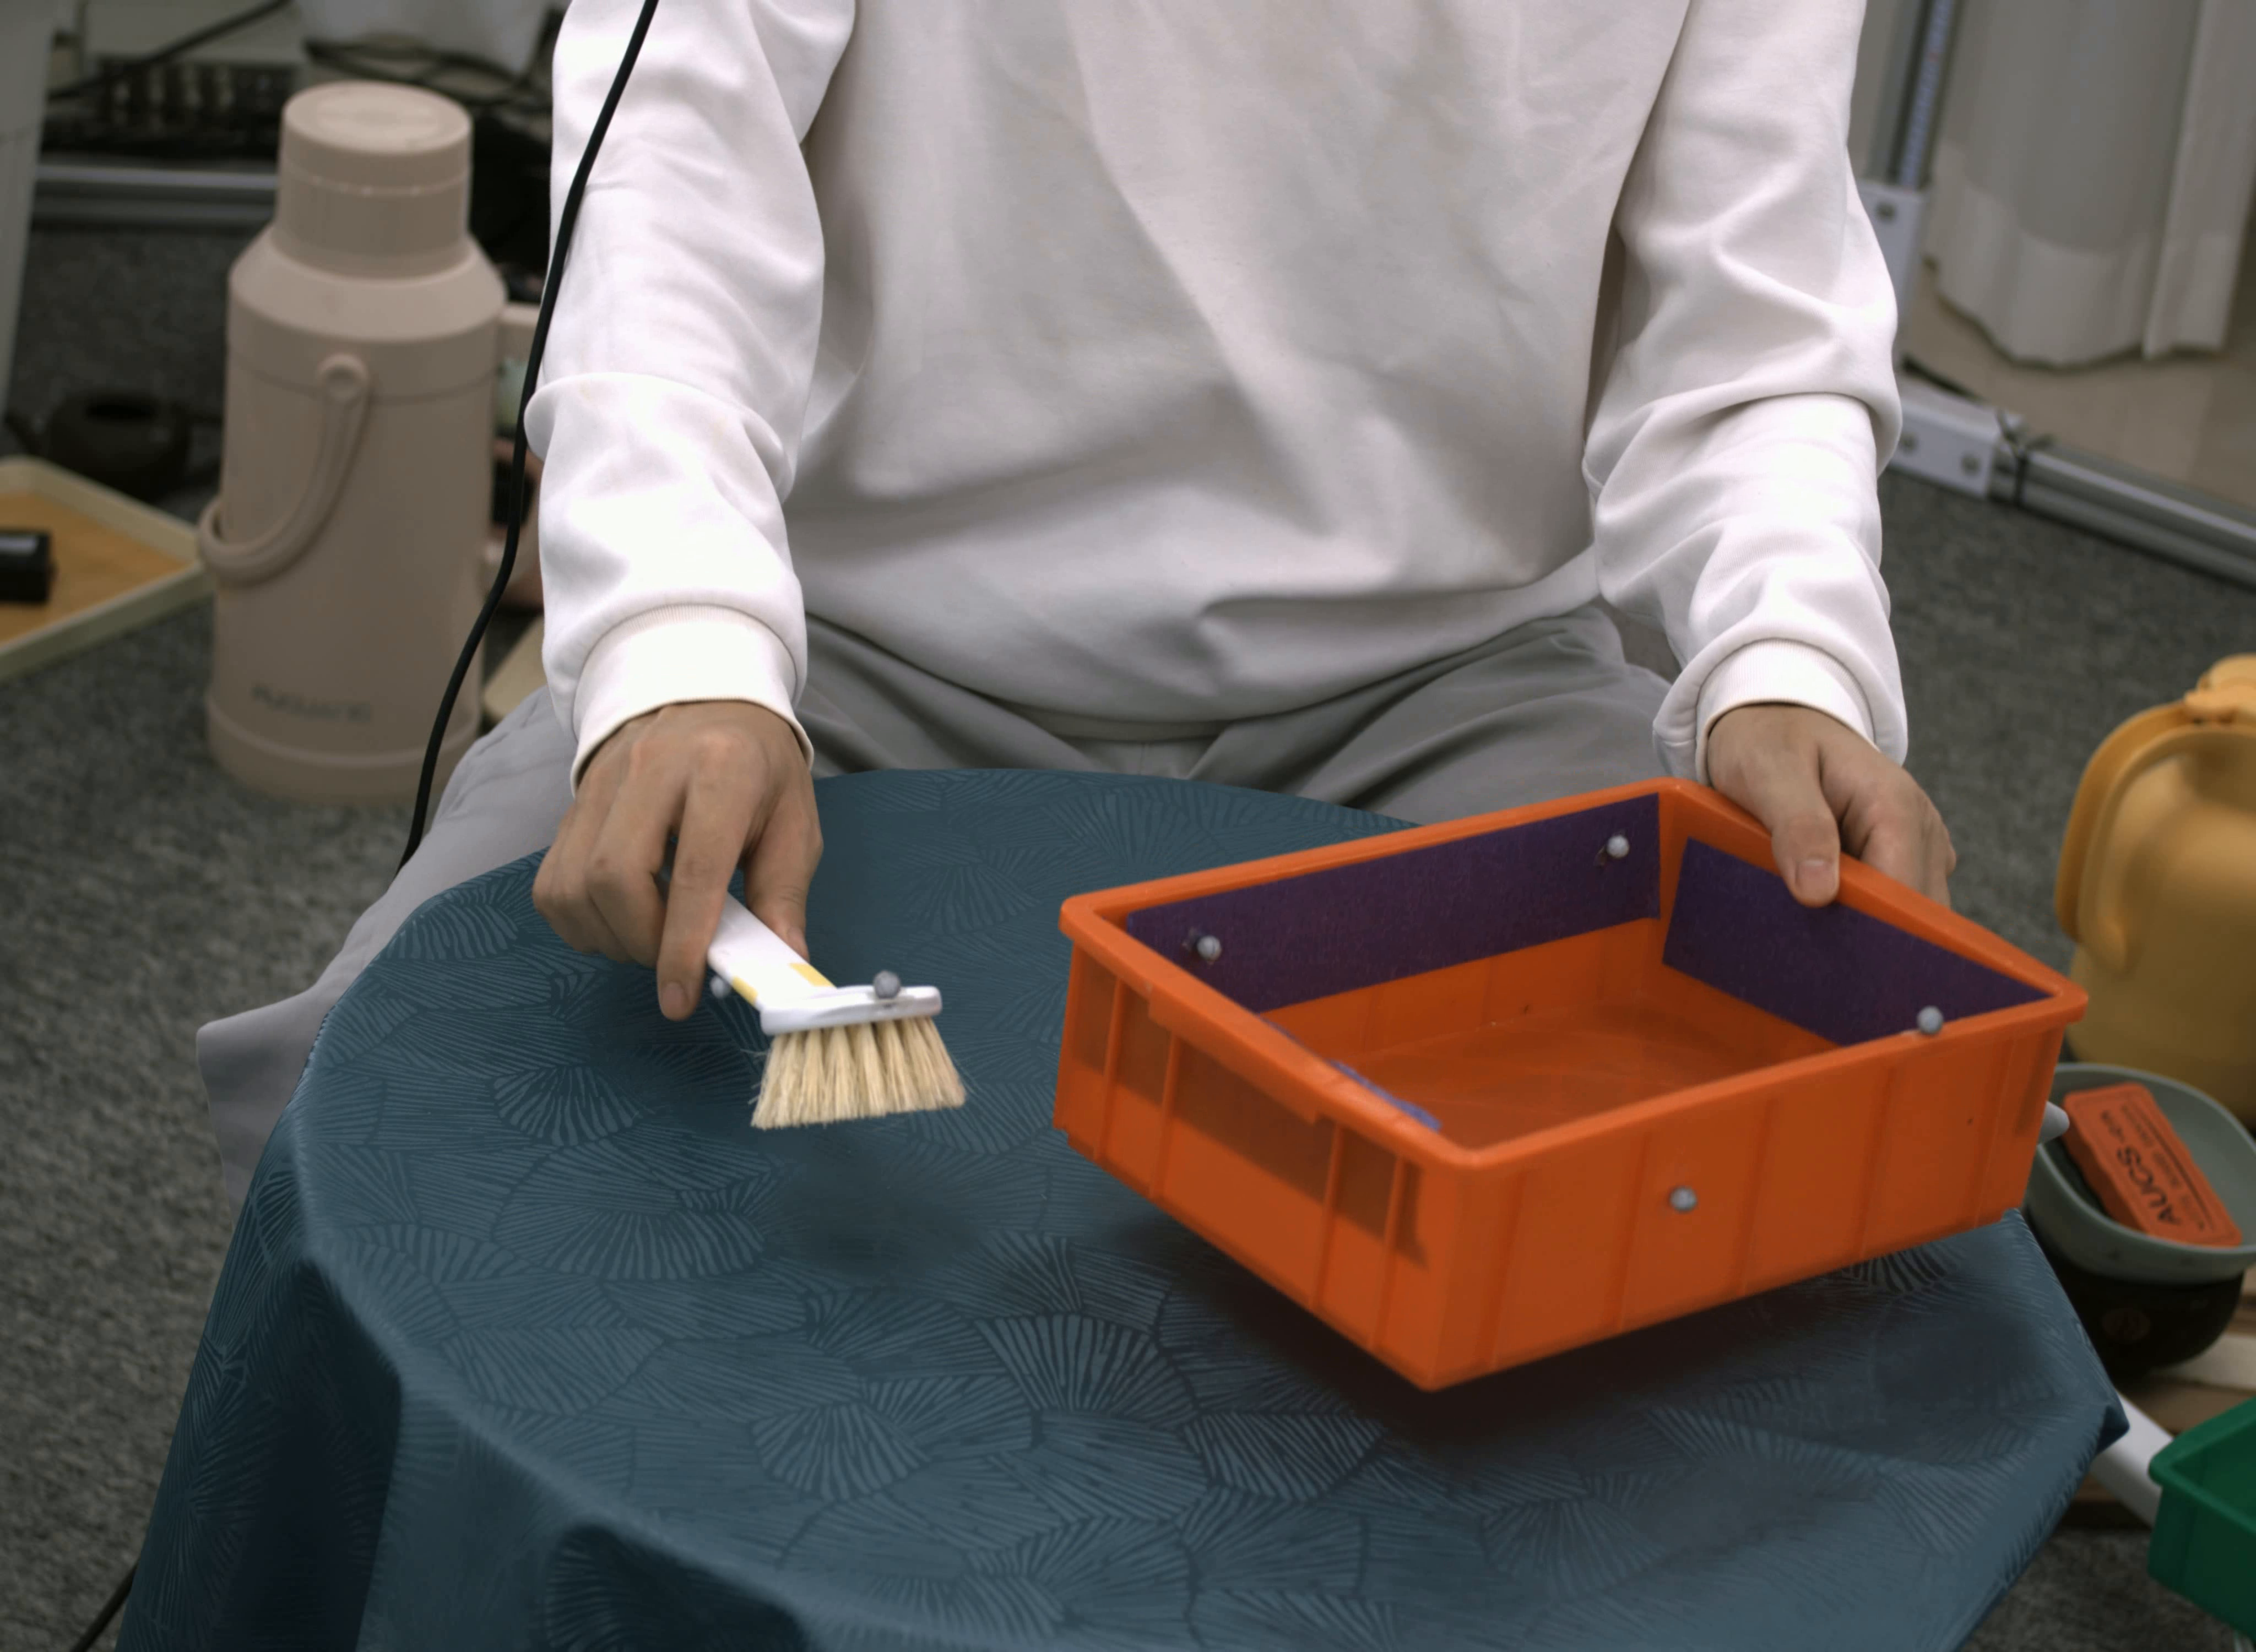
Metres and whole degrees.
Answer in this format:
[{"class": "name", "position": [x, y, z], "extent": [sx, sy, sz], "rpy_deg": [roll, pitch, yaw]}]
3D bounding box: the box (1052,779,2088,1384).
[{"class": "box", "position": [0.143, 0.081, 1.770], "extent": [0.301, 0.096, 0.208], "rpy_deg": [-9, 27, -38]}]

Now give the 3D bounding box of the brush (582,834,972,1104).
[{"class": "brush", "position": [-0.129, 0.051, 1.821], "extent": [0.068, 0.056, 0.268], "rpy_deg": [5, 7, -29]}]
